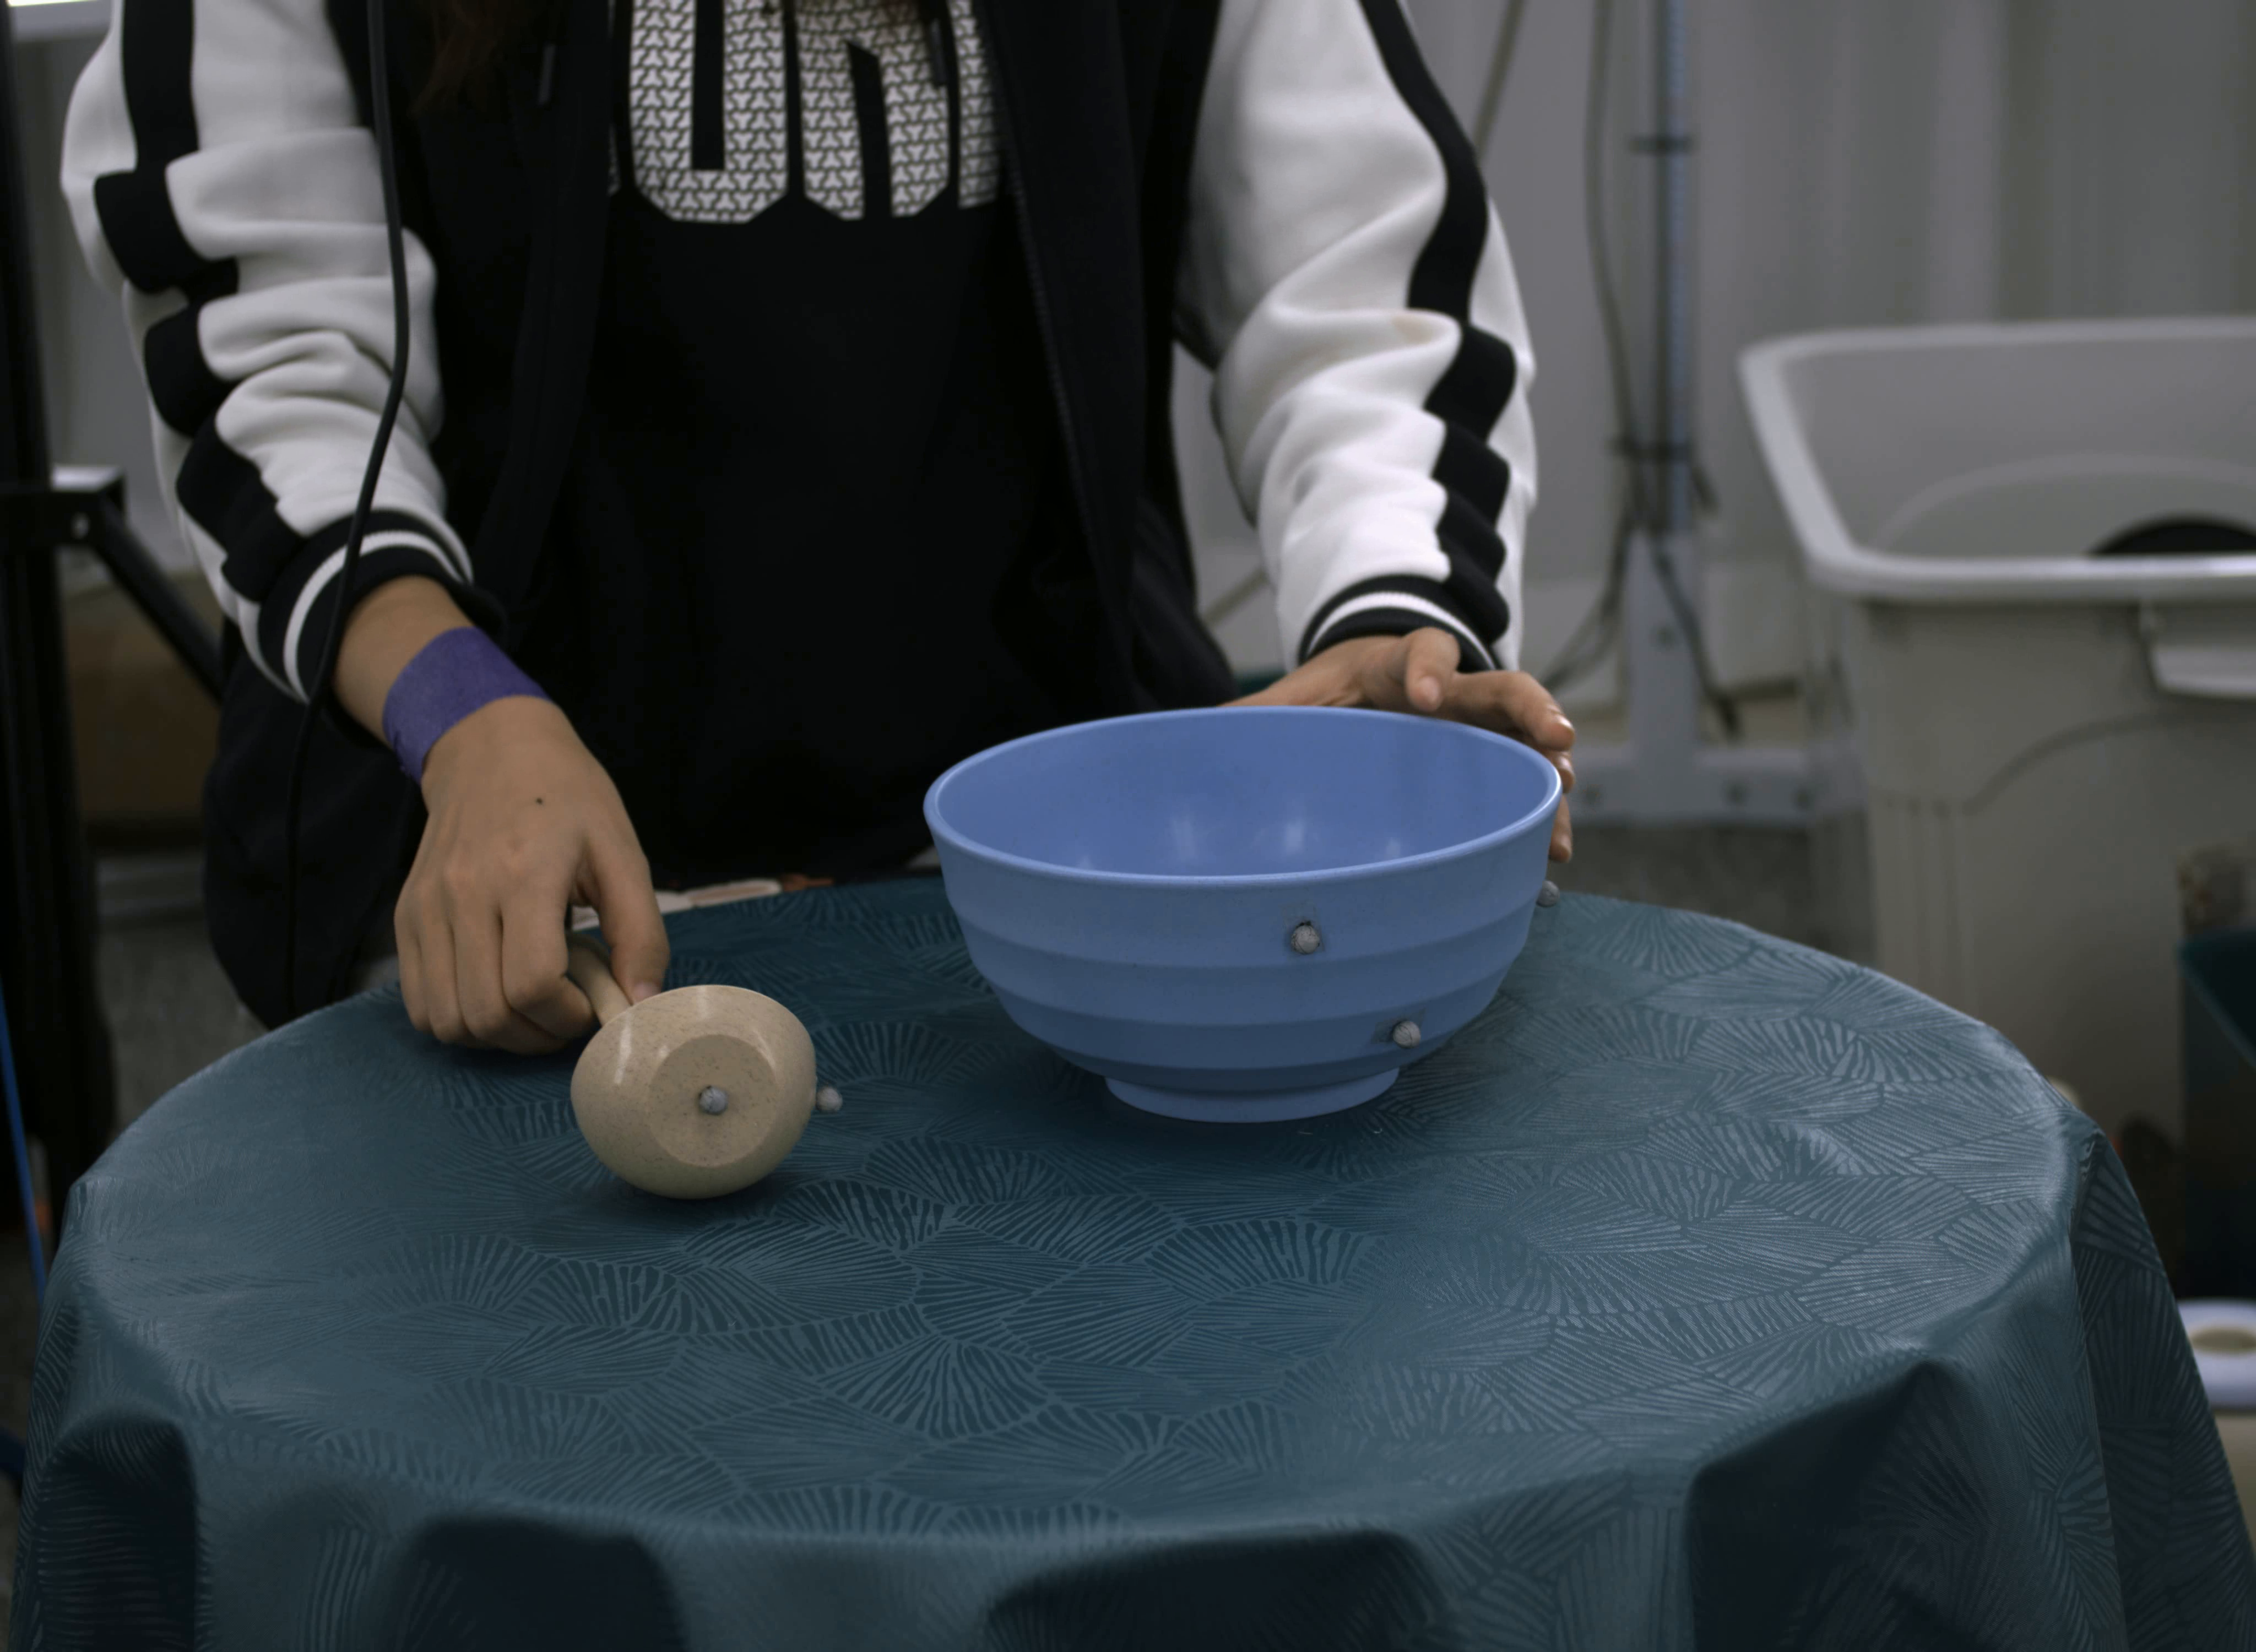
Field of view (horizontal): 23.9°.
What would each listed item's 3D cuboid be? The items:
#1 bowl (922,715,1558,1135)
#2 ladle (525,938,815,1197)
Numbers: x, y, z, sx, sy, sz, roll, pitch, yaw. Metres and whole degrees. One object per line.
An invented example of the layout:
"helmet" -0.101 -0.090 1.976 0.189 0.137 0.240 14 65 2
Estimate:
"bowl" 0.037 0.036 1.644 0.195 0.095 0.197 -4 15 0
"ladle" -0.155 0.045 1.655 0.071 0.073 0.258 1 17 -17
